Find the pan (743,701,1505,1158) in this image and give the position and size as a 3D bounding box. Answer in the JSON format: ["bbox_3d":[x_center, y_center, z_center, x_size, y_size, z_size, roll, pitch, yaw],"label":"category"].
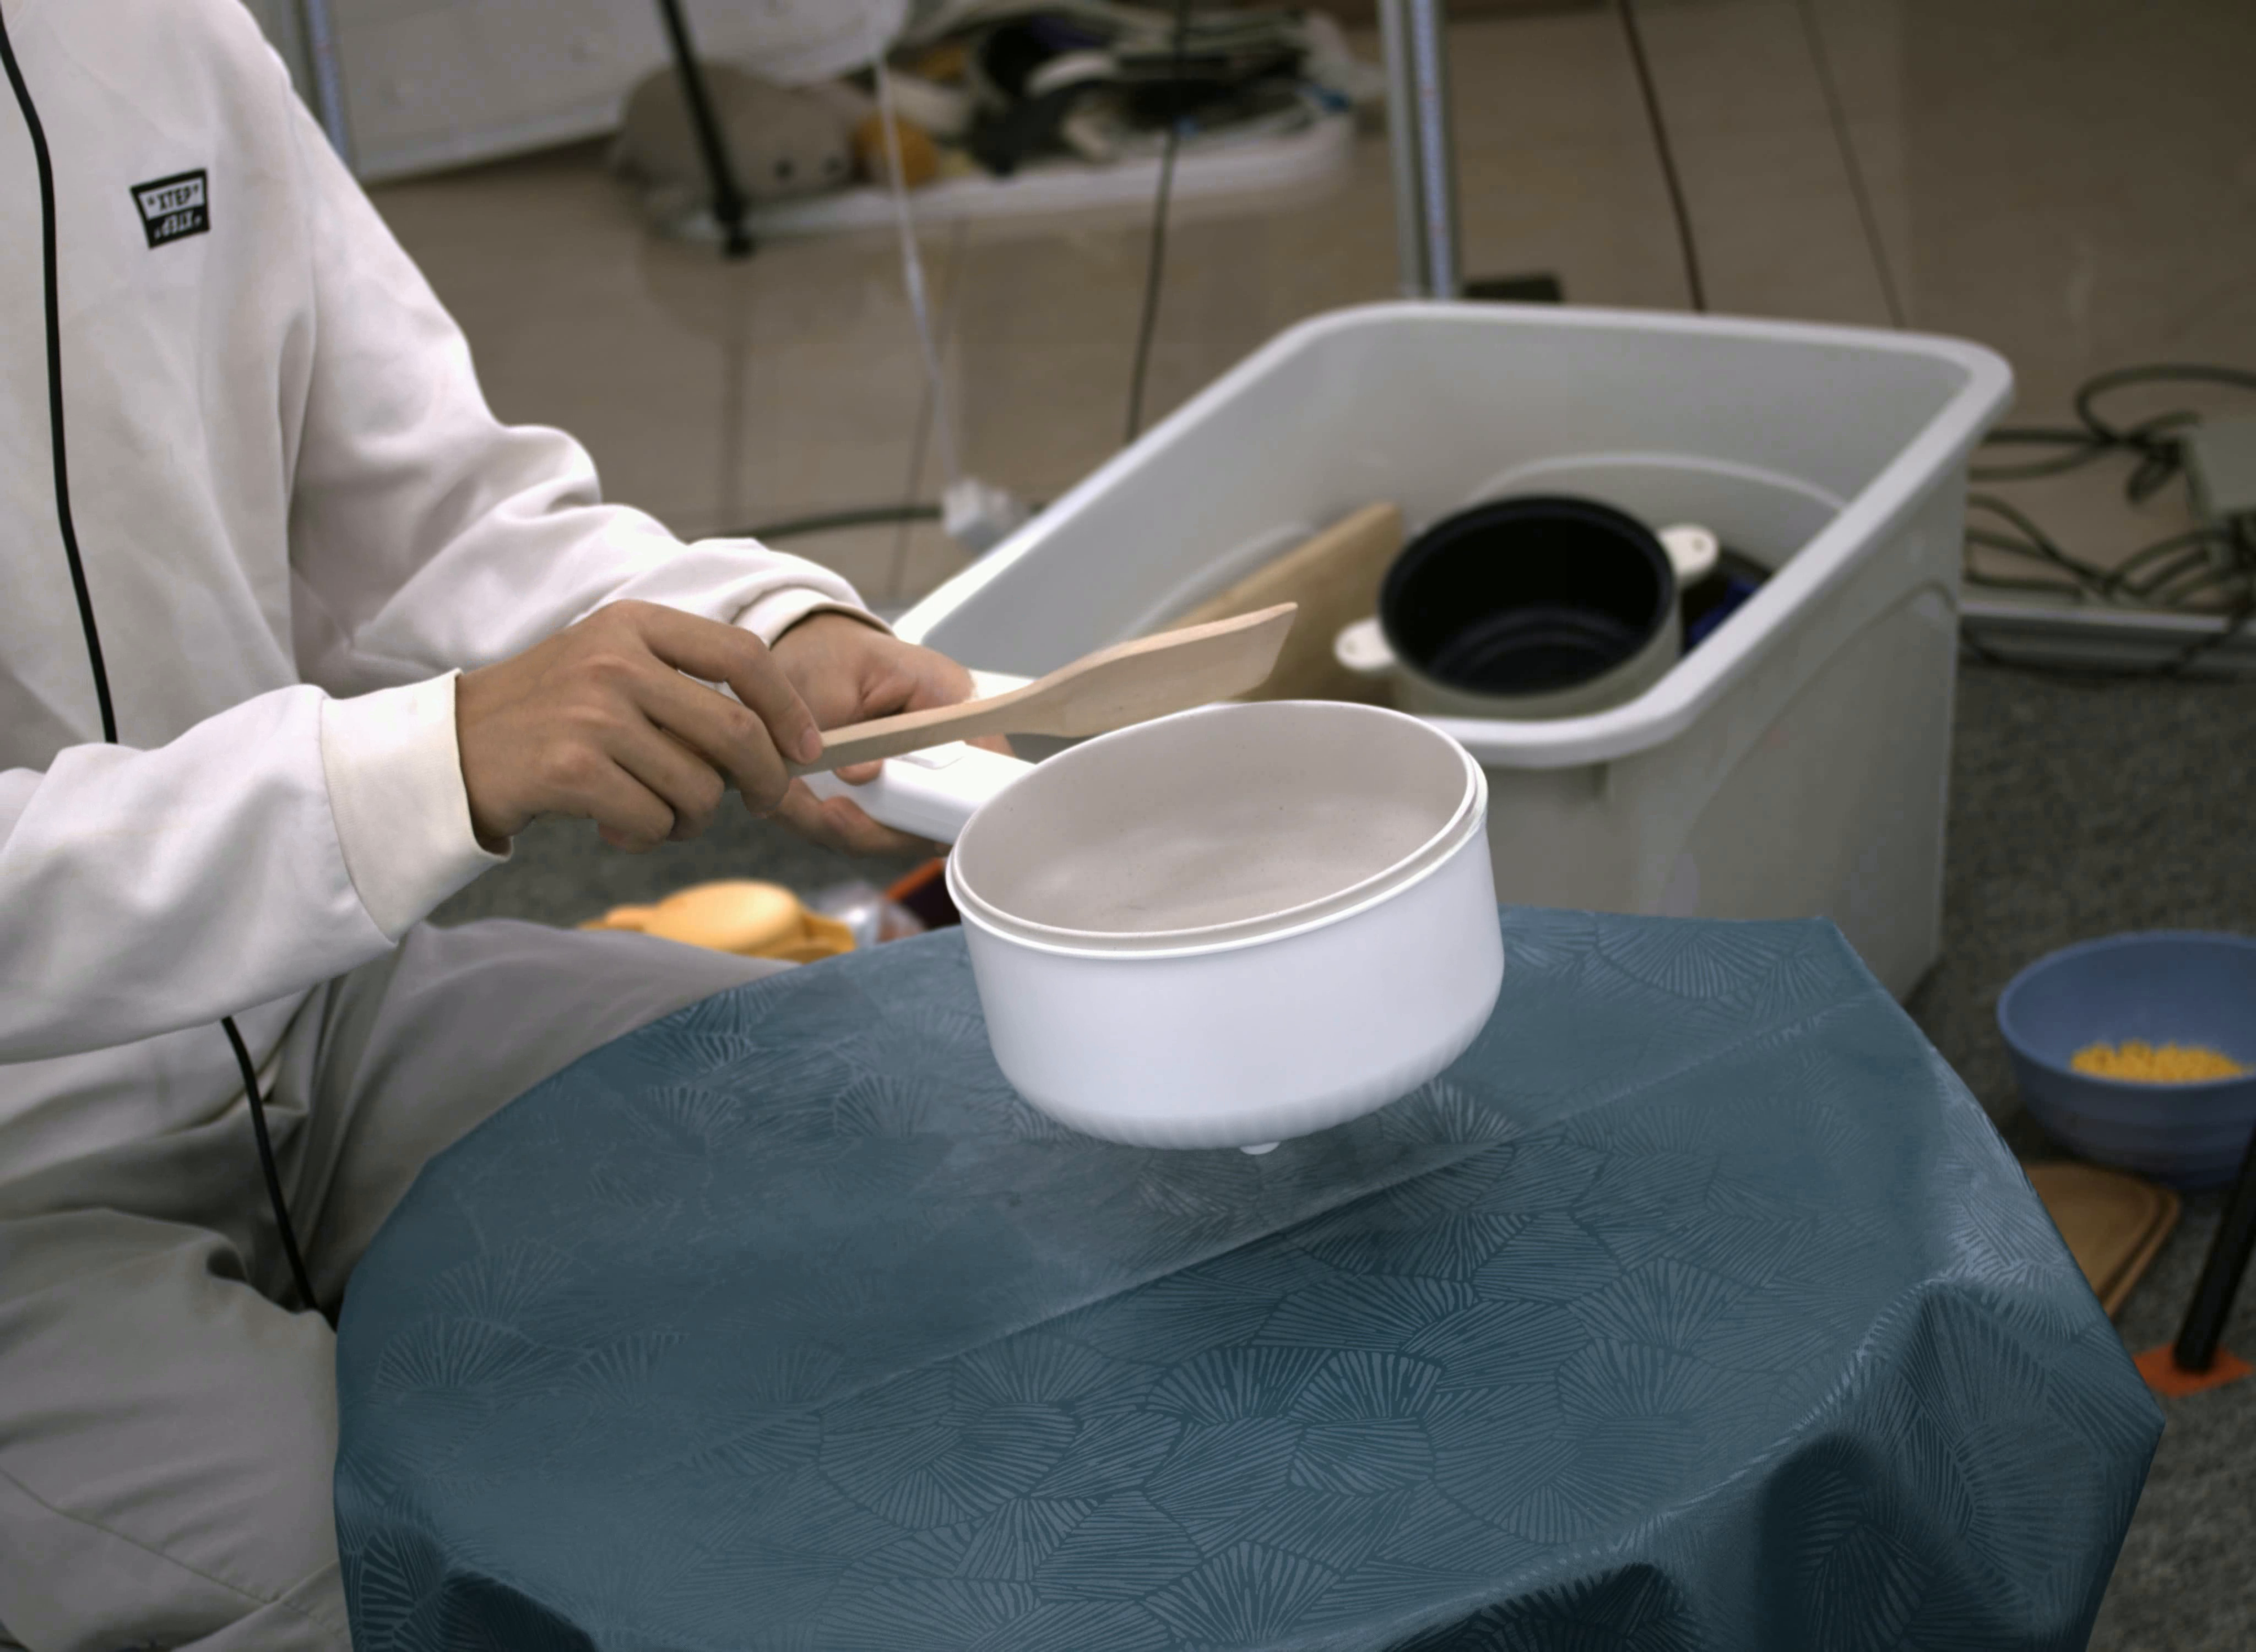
[{"bbox_3d":[-0.013,0.029,2.147,0.199,0.103,0.352,-32,31,-35],"label":"pan"}]

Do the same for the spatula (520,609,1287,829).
[{"bbox_3d":[-0.081,-0.035,2.082,0.292,0.073,0.010,-13,71,-14],"label":"spatula"}]
